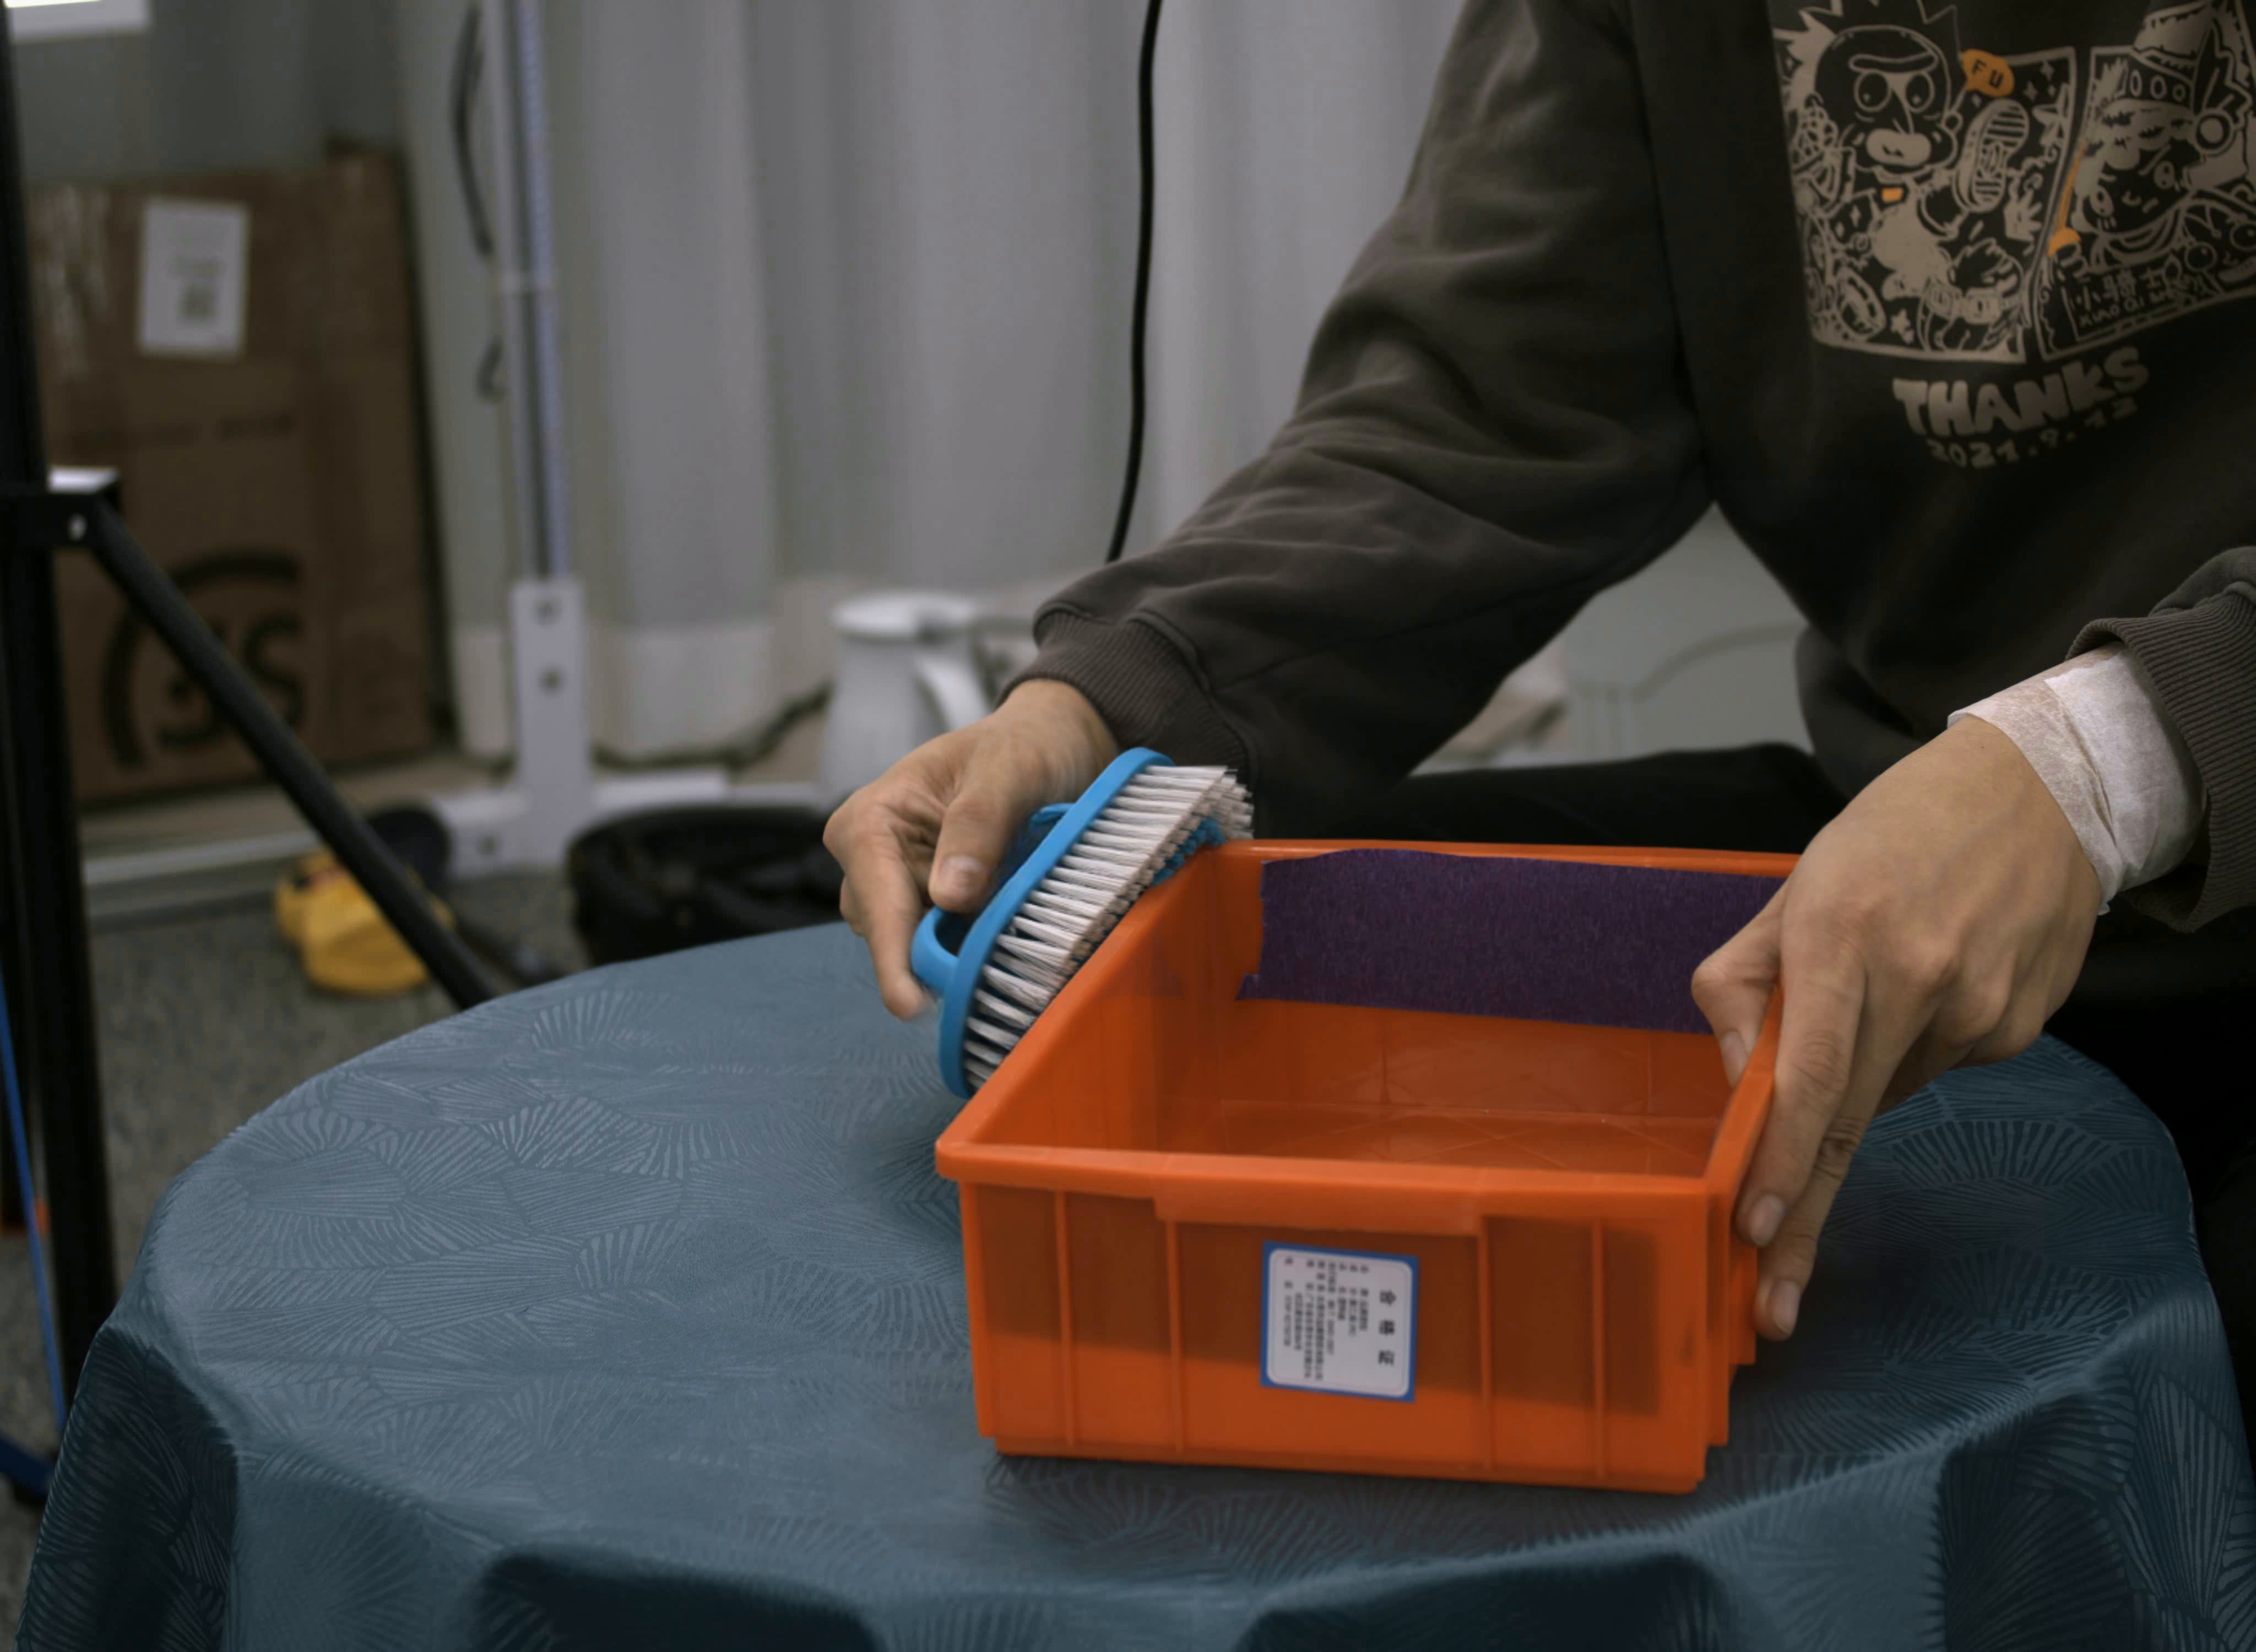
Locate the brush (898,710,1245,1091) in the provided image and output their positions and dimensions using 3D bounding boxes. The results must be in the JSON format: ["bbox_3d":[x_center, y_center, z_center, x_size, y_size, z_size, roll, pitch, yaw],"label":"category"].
[{"bbox_3d":[-0.025,0.023,1.585,0.065,0.084,0.140,18,45,26],"label":"brush"}]

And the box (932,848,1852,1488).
[{"bbox_3d":[0.083,0.088,1.462,0.208,0.096,0.301,2,17,15],"label":"box"}]
